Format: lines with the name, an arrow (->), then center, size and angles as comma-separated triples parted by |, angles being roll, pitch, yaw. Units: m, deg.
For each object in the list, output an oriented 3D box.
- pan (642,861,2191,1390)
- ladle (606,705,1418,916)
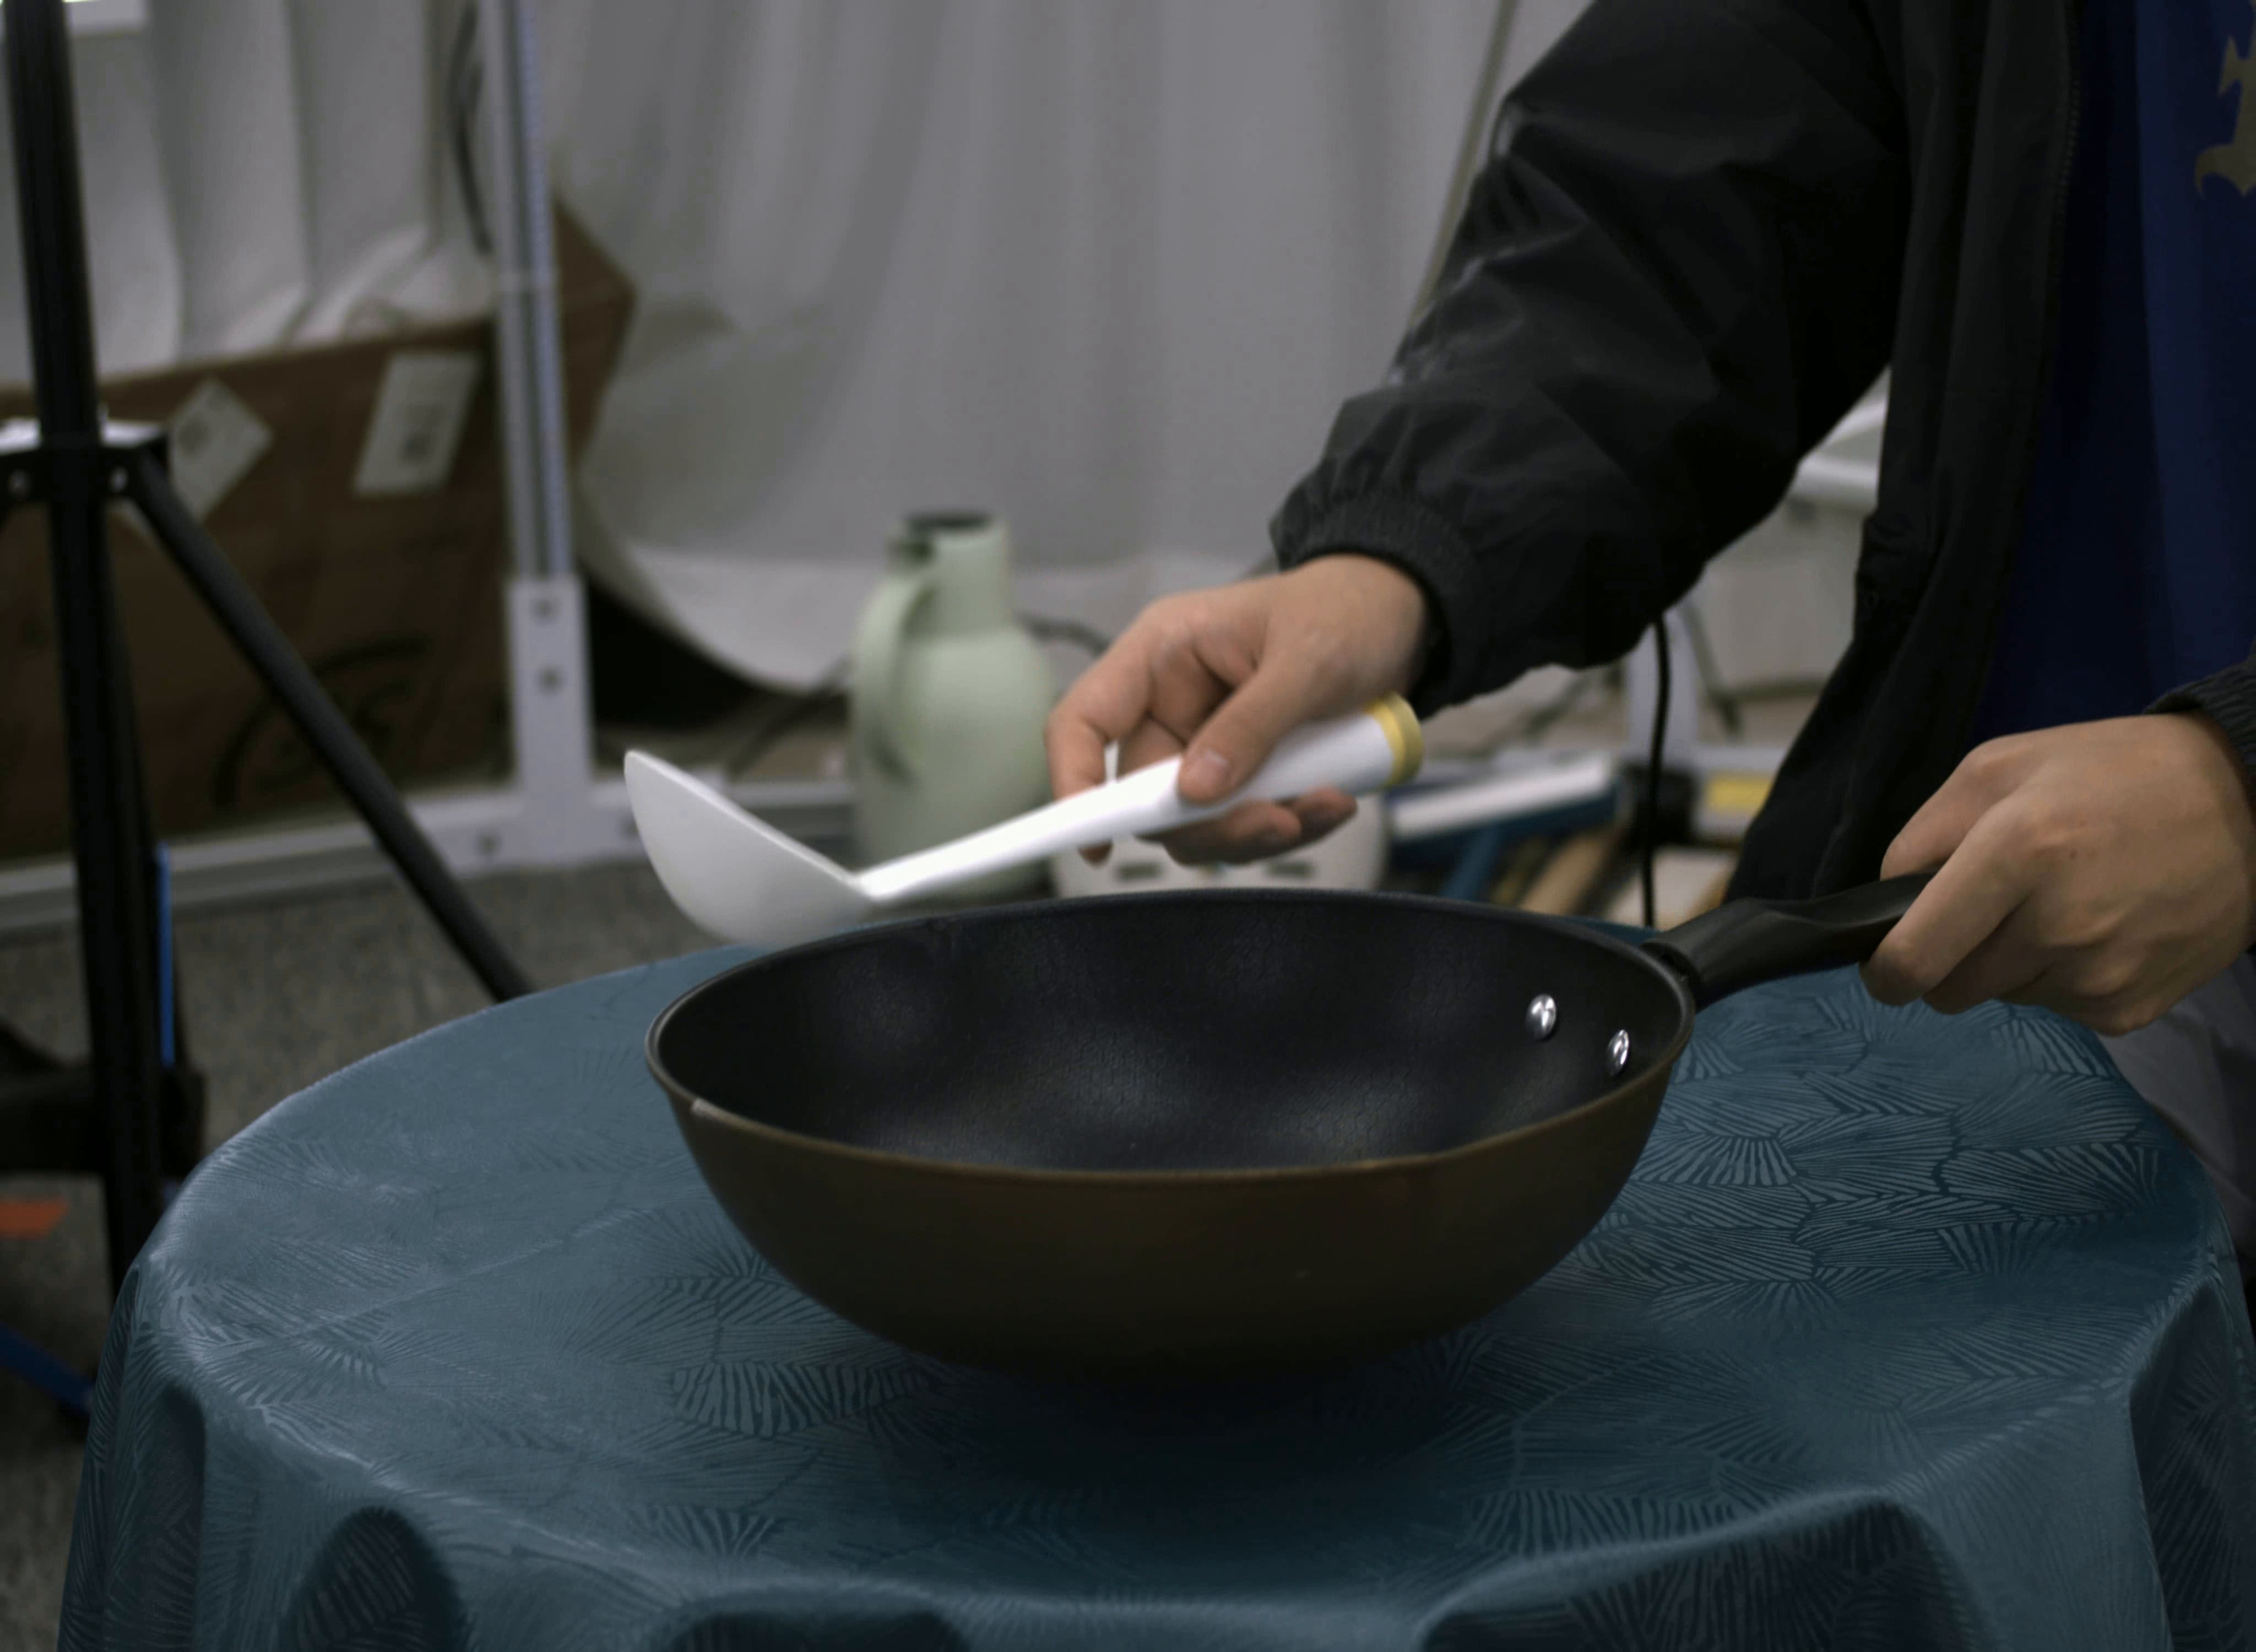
pan -> 0.093, 0.075, 1.445 | 0.454, 0.087, 0.294 | -8, 15, -24
ladle -> -0.028, -0.021, 1.643 | 0.286, 0.070, 0.092 | -10, 20, -34
